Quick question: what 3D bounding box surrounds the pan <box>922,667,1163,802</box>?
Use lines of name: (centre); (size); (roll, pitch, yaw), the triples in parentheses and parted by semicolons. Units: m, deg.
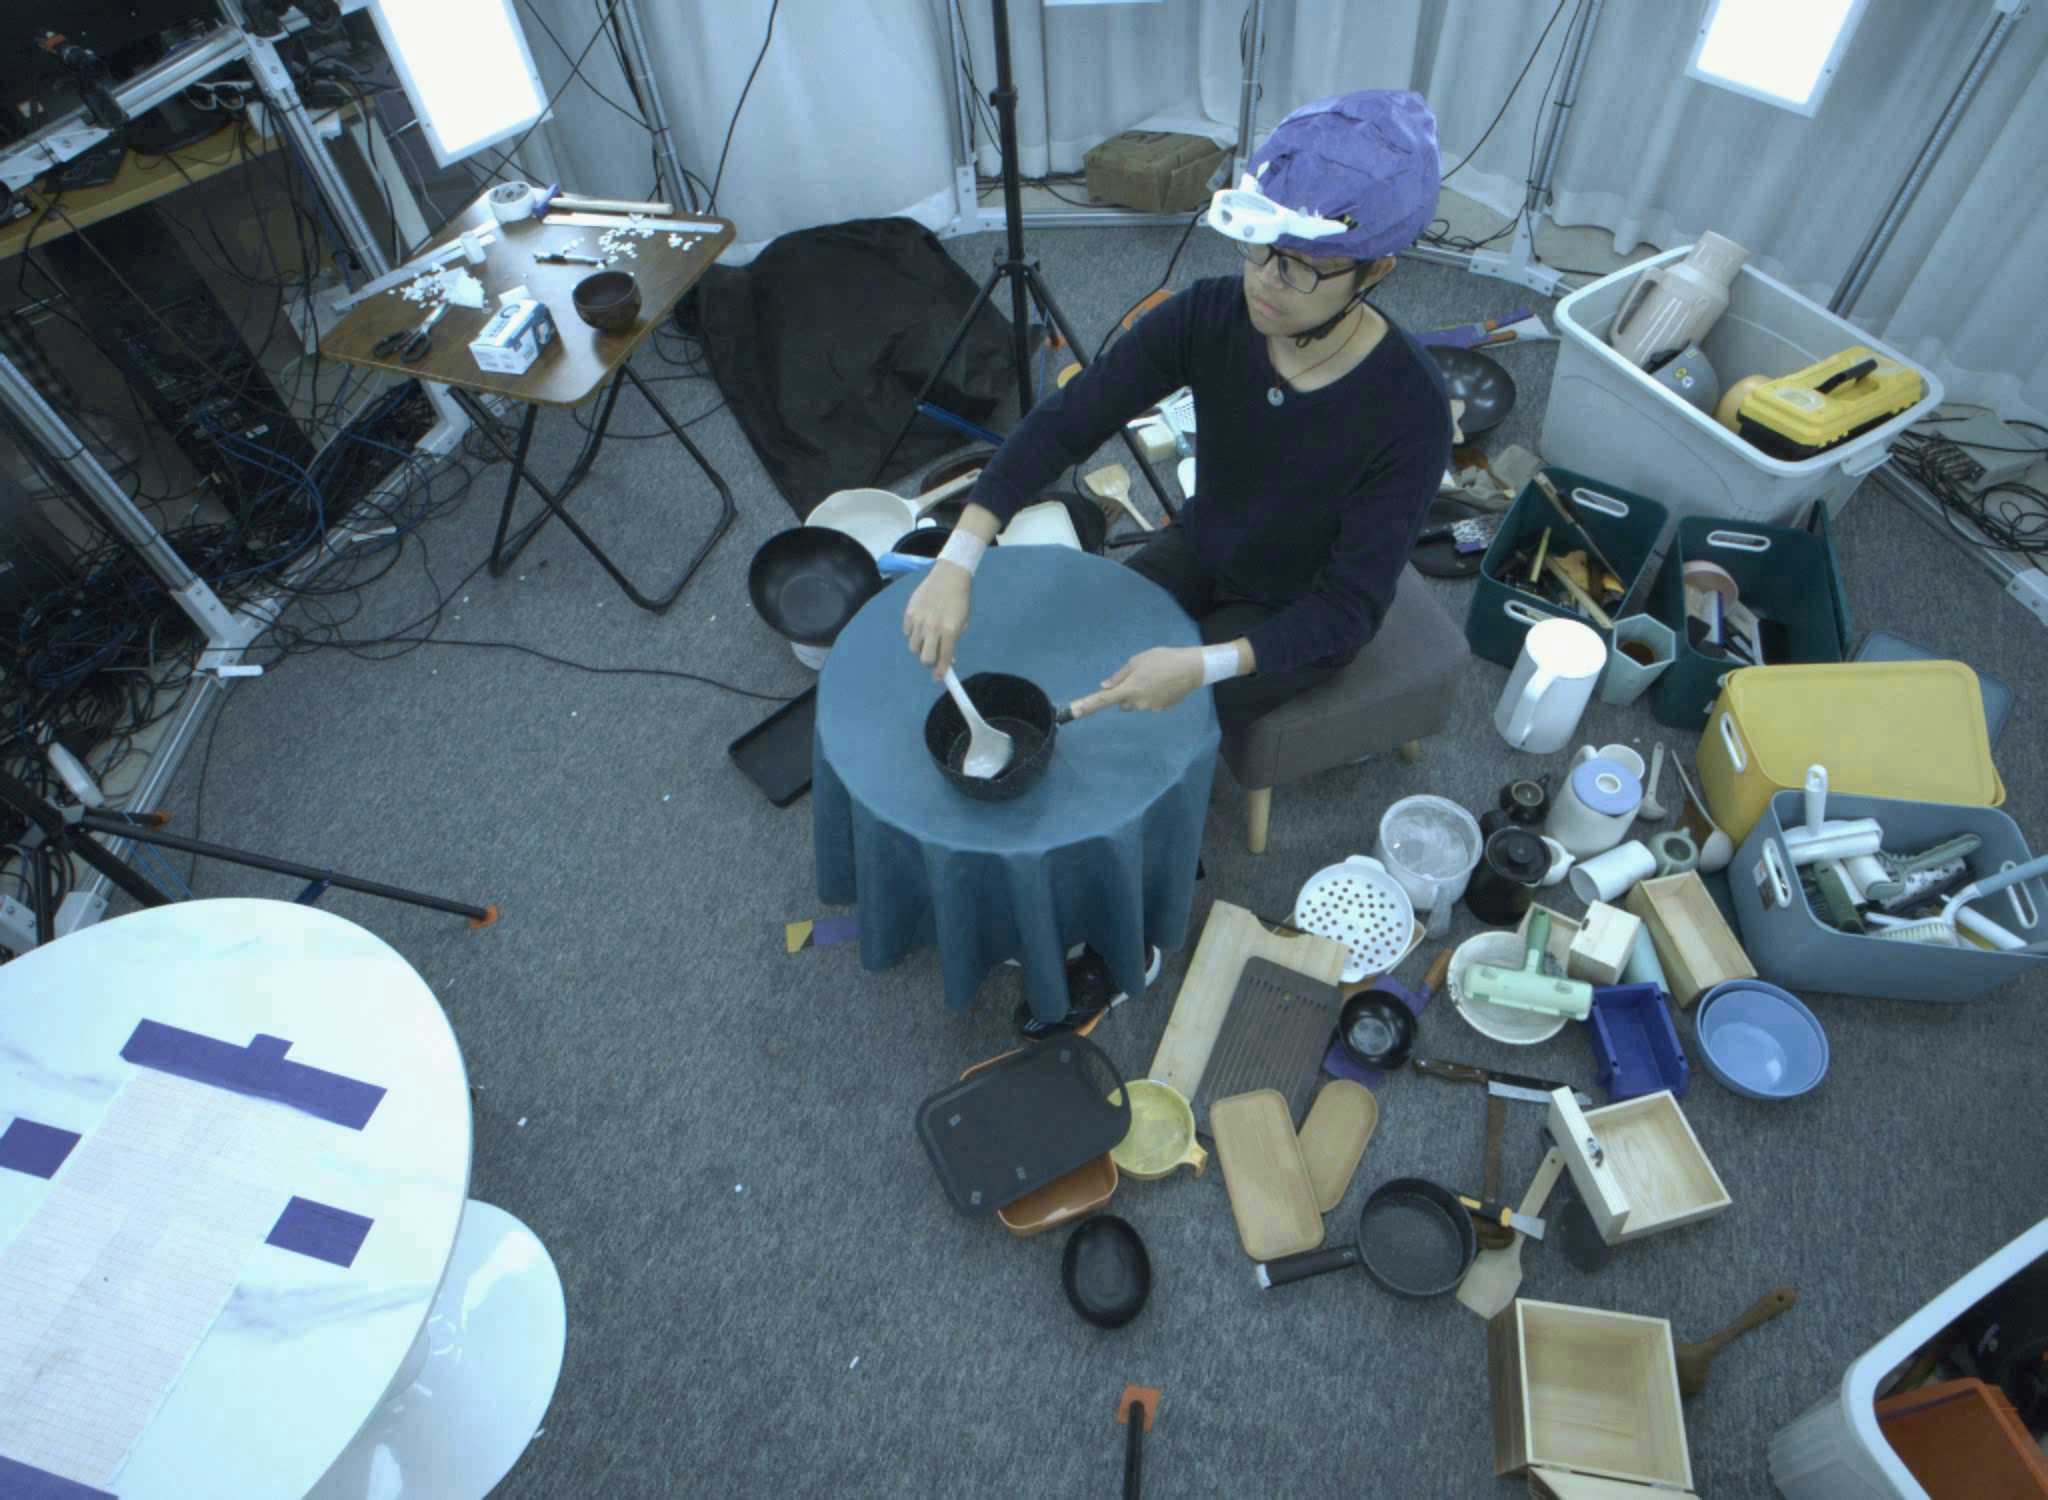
pan: (0.031, -0.038, 1.731); (0.343, 0.110, 0.204); (-14, 53, 0)

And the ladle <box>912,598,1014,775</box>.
ladle: (-0.103, -0.084, 1.720); (0.276, 0.088, 0.070); (61, 32, -6)
